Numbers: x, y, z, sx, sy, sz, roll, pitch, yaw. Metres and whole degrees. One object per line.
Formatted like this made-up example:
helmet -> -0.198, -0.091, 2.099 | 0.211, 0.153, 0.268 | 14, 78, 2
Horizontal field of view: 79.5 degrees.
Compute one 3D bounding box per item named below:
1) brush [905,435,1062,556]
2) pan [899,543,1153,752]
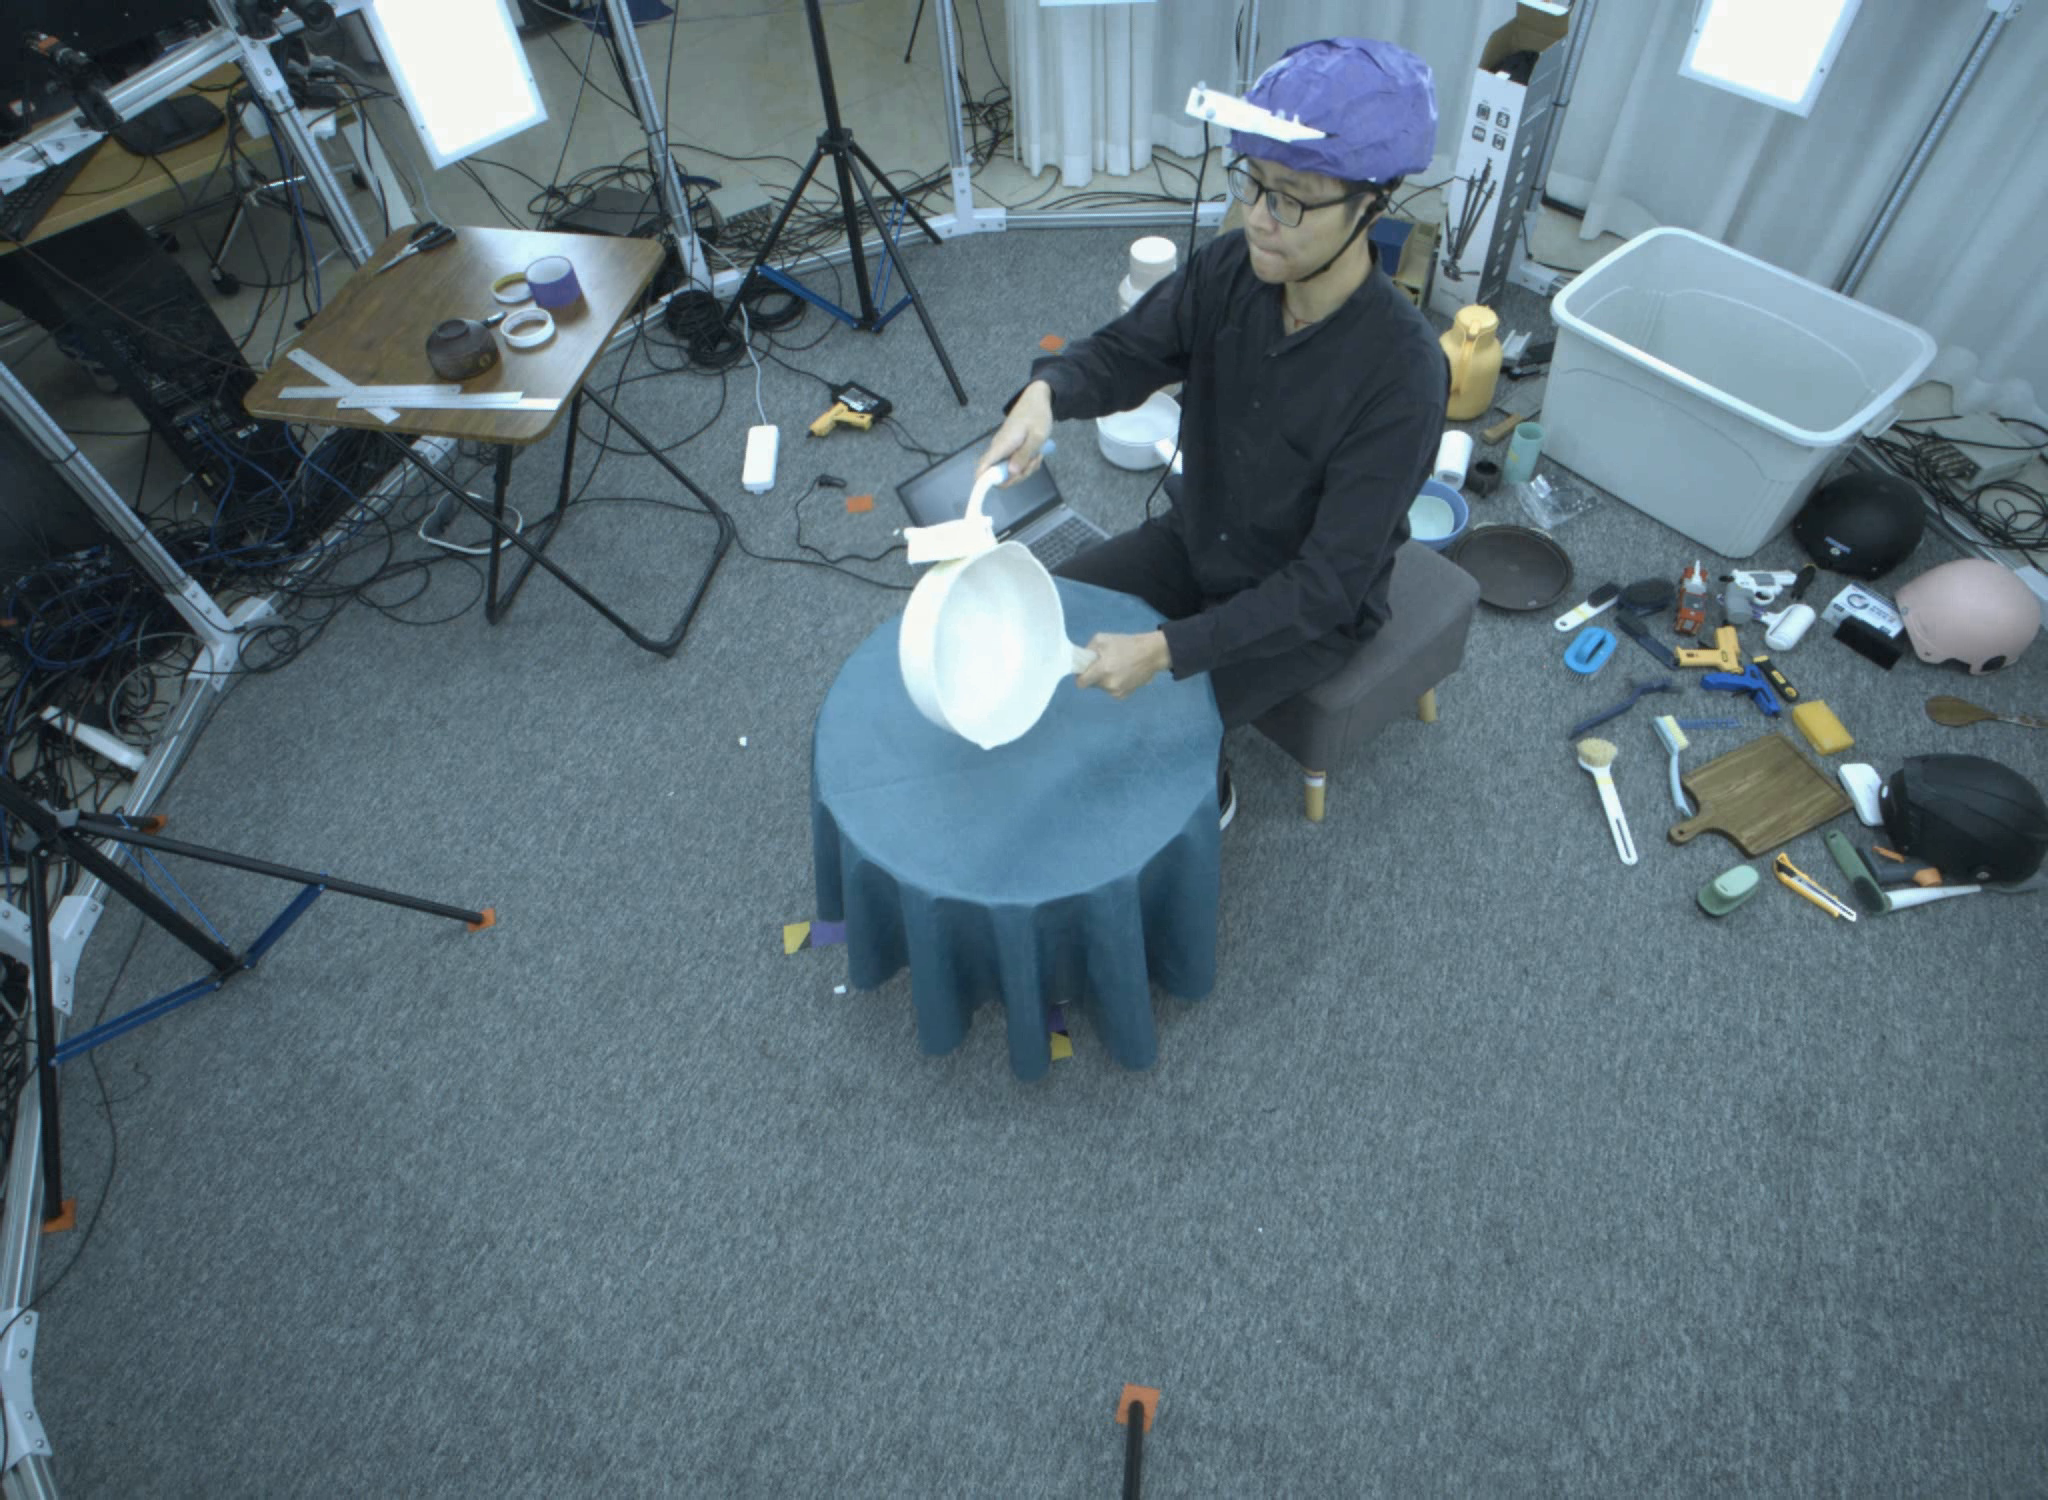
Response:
brush -> -0.035, -0.310, 1.559 | 0.082, 0.084, 0.328 | 36, 46, 14
pan -> 0.007, -0.127, 1.631 | 0.100, 0.444, 0.263 | 10, 94, 39
